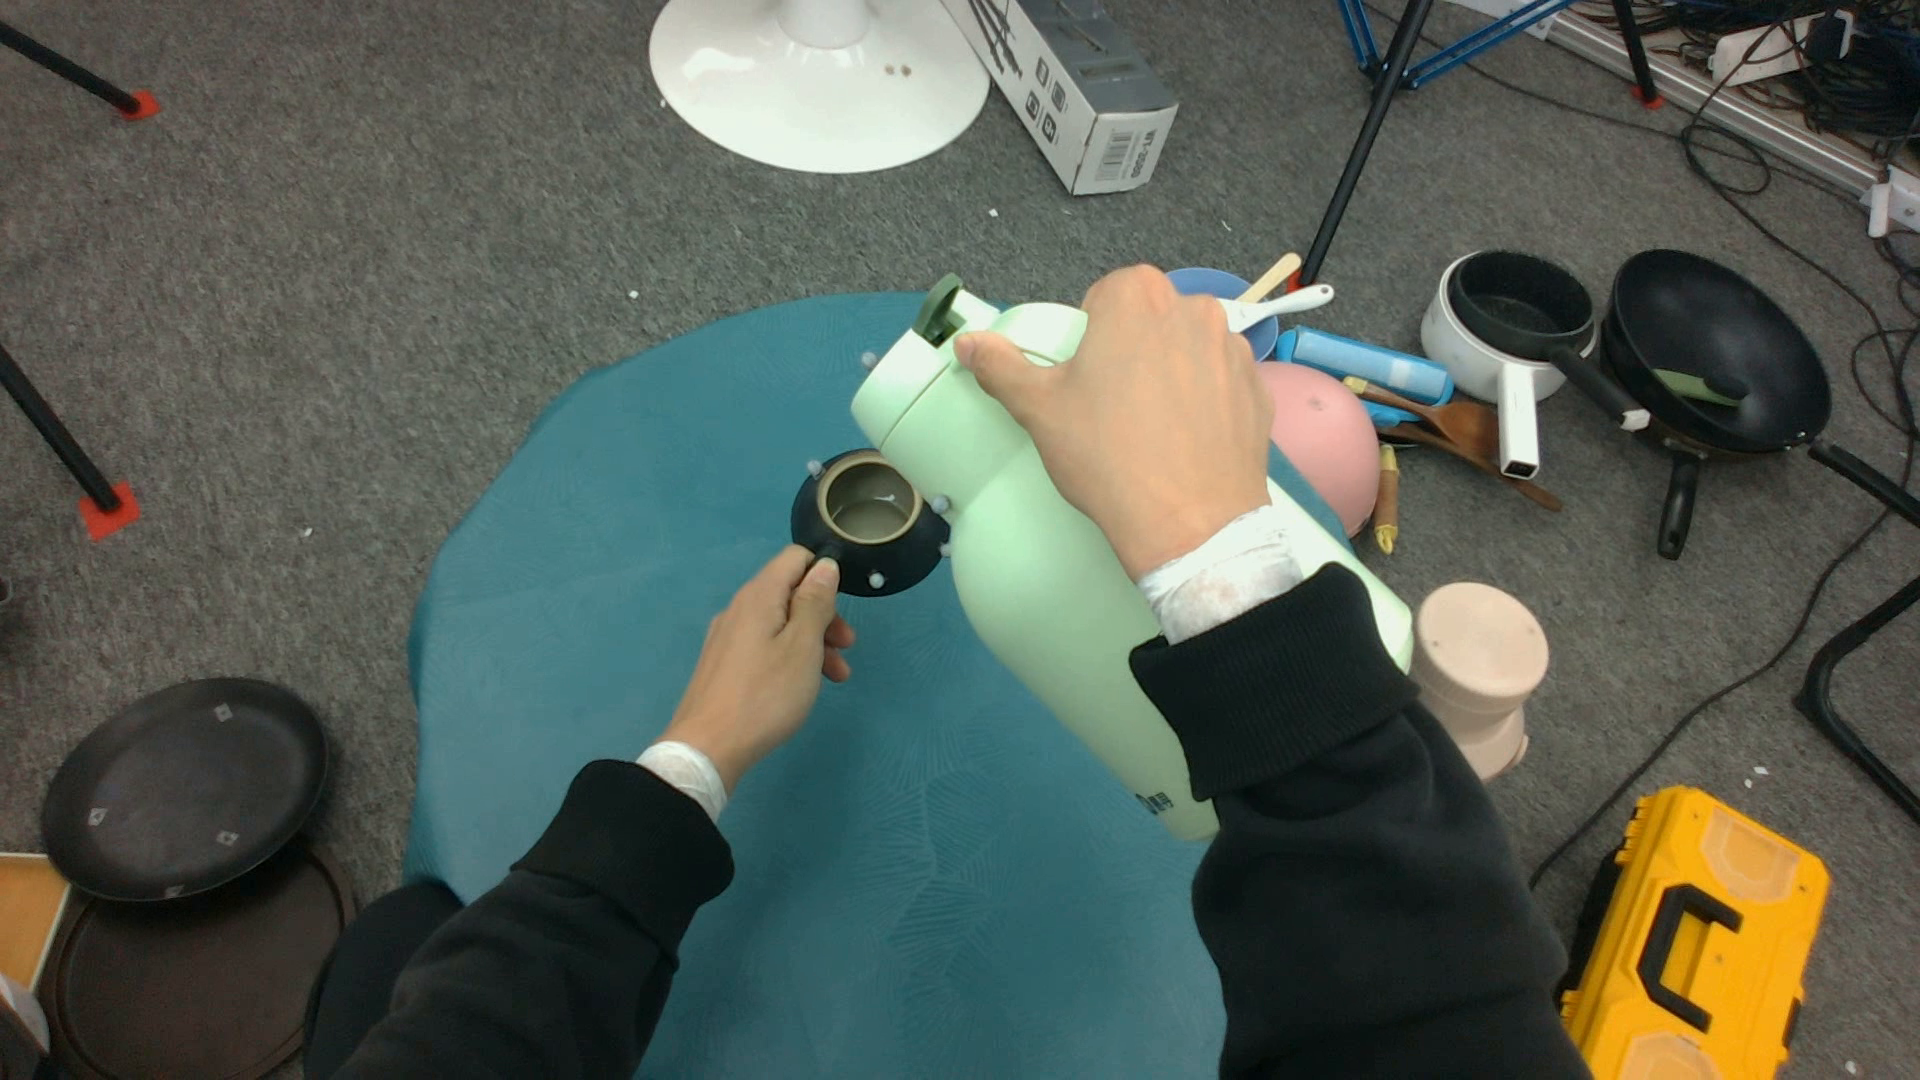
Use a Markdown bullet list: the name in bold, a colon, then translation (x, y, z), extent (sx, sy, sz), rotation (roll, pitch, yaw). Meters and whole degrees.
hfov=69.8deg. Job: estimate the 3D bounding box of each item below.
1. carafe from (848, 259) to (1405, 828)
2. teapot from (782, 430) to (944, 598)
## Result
- **carafe**: translation (0.068, -0.008, 0.604), extent (0.256, 0.186, 0.145), rotation (46, 65, -2)
- **teapot**: translation (-0.055, -0.019, 0.771), extent (0.091, 0.053, 0.134), rotation (29, 63, 13)
